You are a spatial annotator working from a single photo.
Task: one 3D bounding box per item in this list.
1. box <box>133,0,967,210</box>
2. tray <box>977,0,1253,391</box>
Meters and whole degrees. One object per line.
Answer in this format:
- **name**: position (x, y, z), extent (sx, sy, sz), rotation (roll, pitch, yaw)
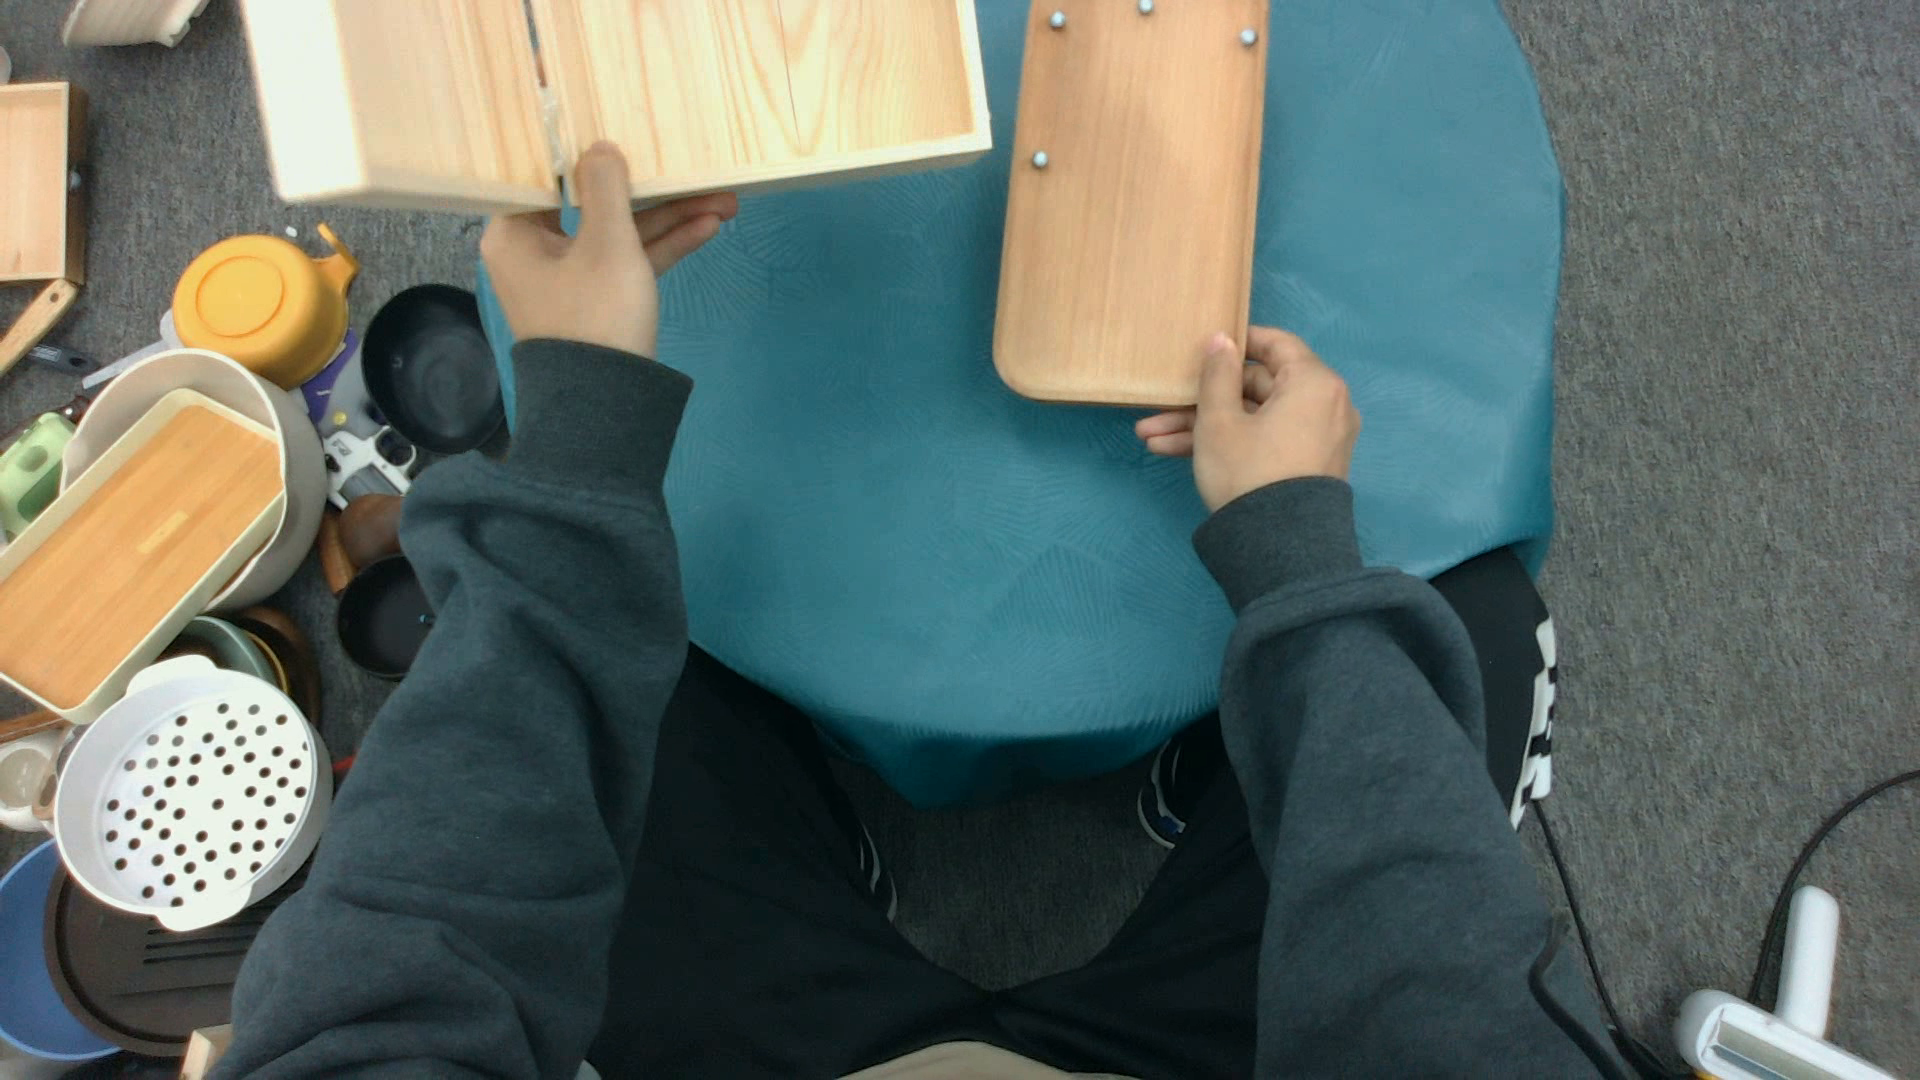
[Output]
- **box**: position (-0.131, -0.234, 0.526), extent (0.265, 0.253, 0.181), rotation (-11, 100, -3)
- **tray**: position (0.082, -0.196, 0.715), extent (0.130, 0.023, 0.251), rotation (3, 77, 14)
